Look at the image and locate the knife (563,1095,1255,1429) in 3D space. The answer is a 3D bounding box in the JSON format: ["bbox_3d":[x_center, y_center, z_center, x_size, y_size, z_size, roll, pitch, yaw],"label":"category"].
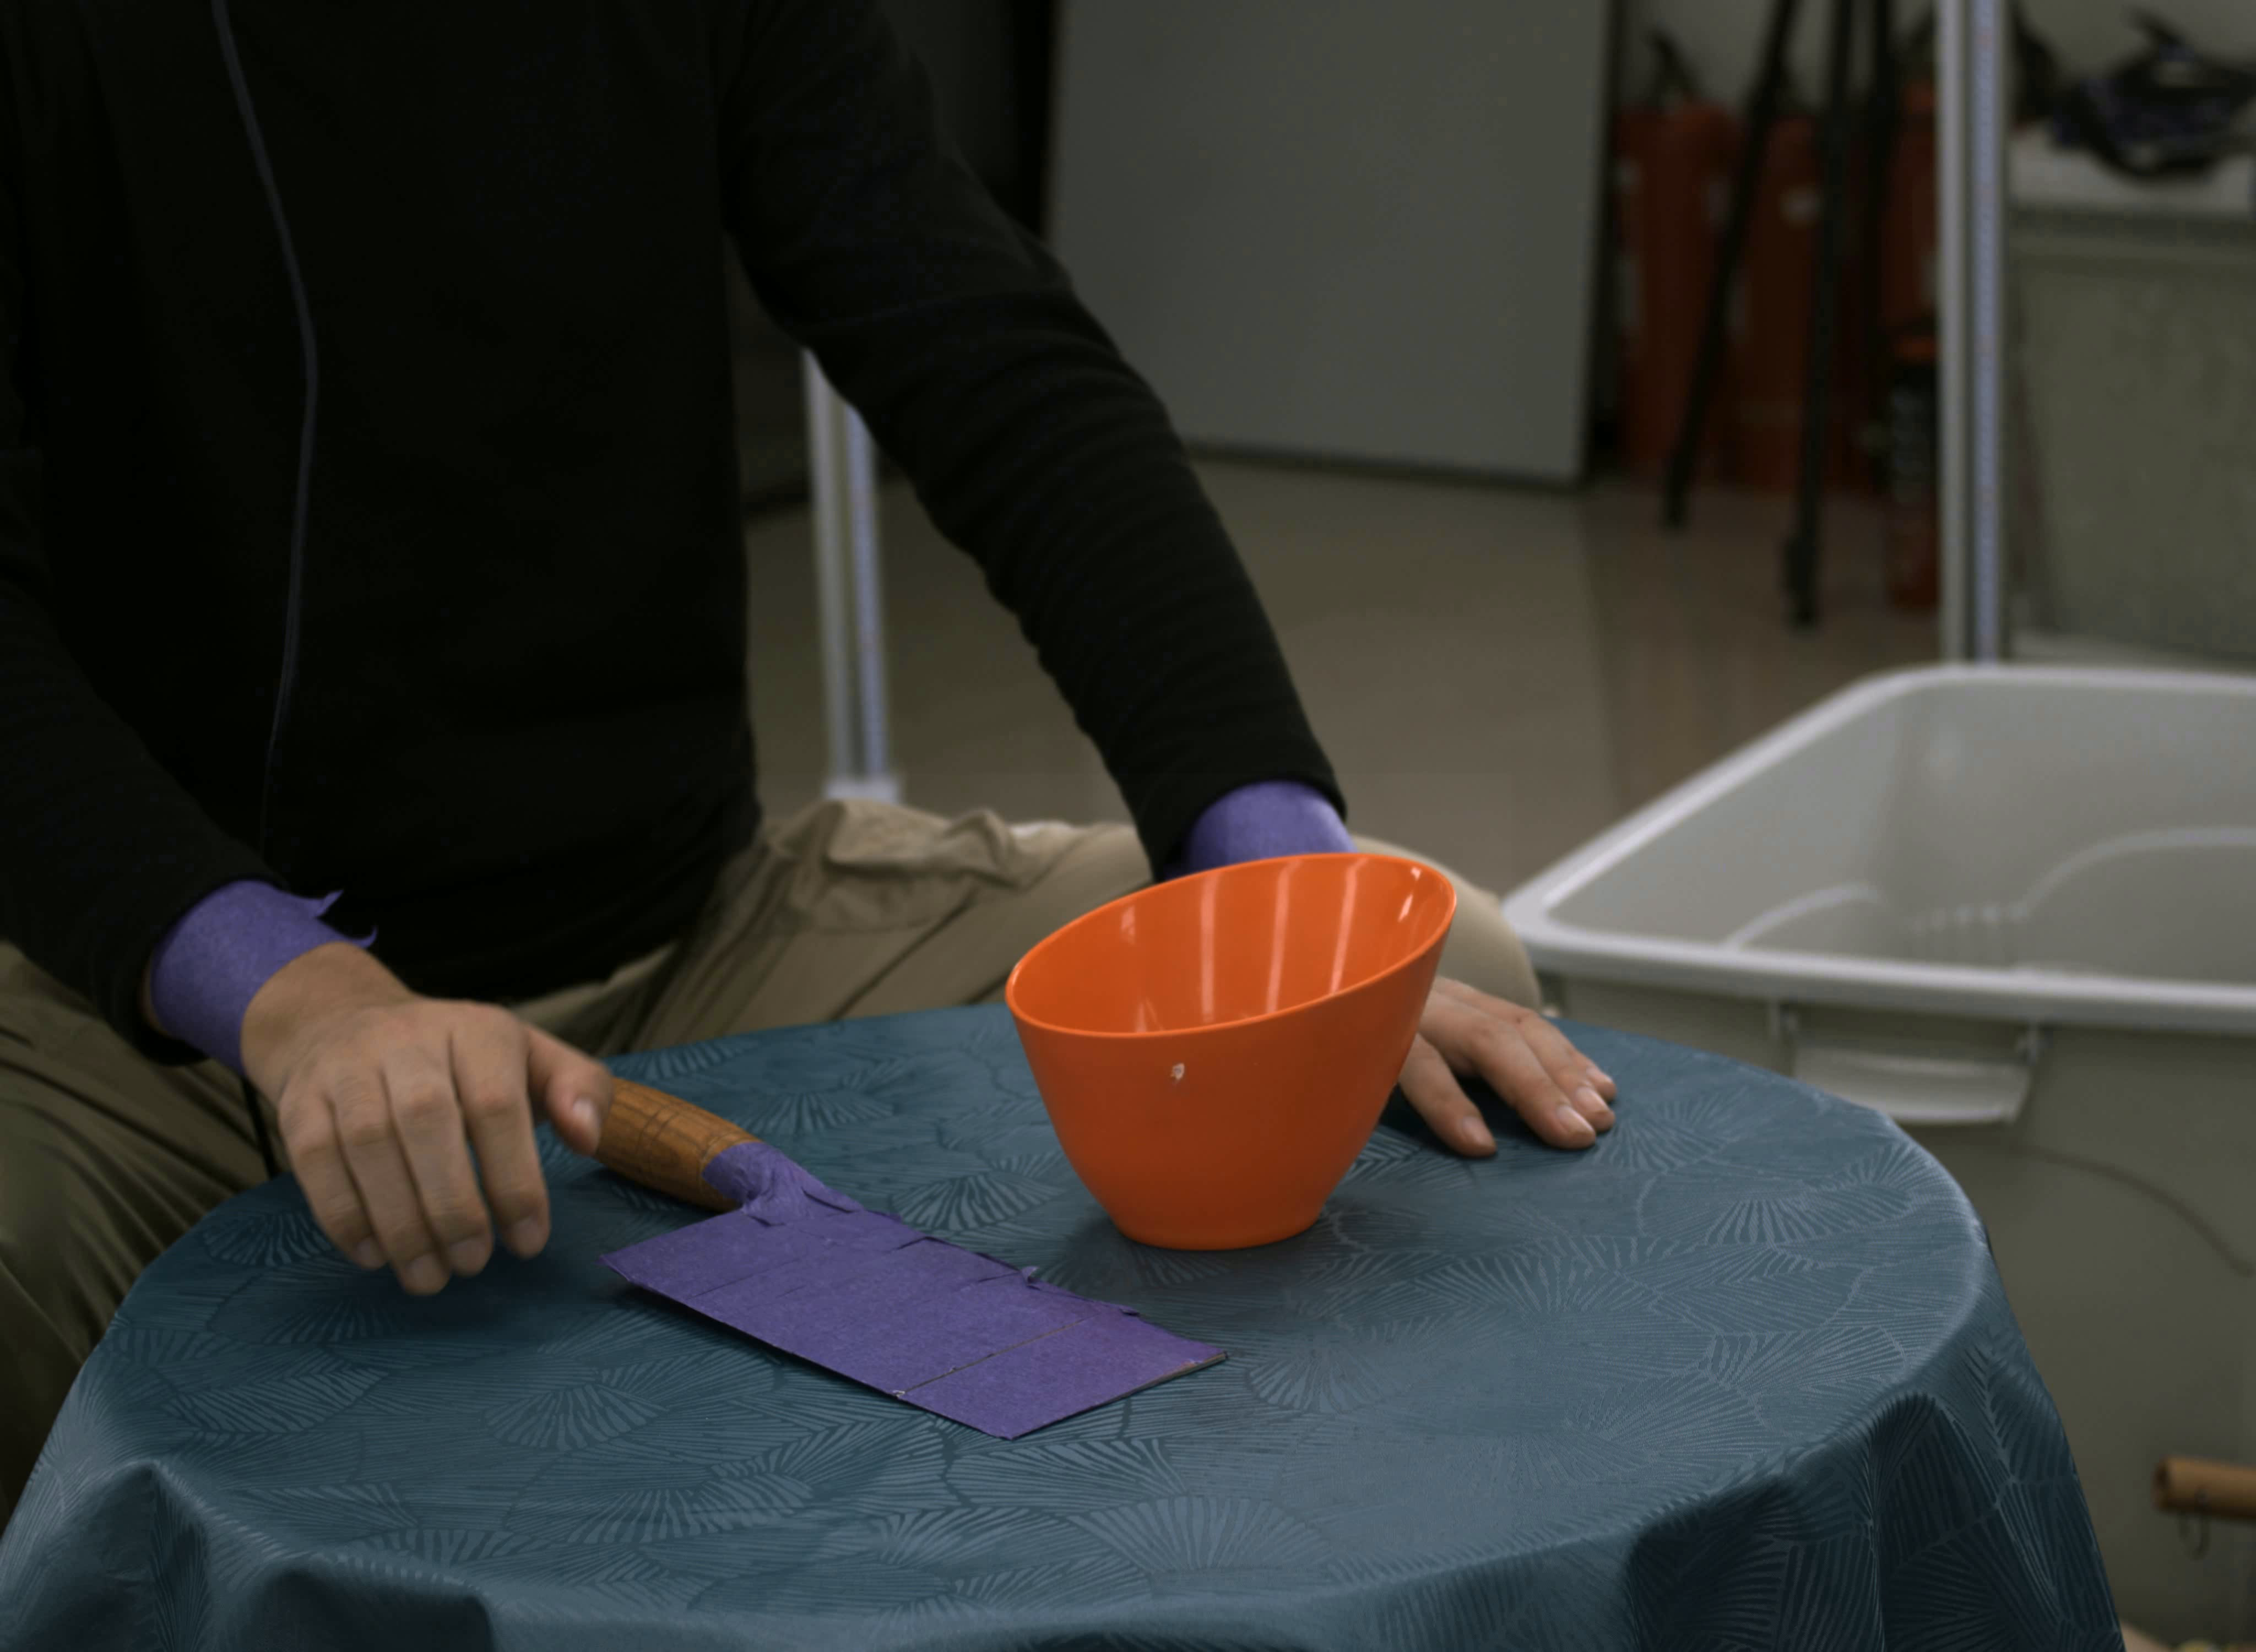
[{"bbox_3d":[-0.100,0.134,1.697,0.101,0.032,0.318,-15,18,-38],"label":"knife"}]

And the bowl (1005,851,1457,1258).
[{"bbox_3d":[0.036,0.076,1.731,0.146,0.106,0.148,-4,15,0],"label":"bowl"}]
